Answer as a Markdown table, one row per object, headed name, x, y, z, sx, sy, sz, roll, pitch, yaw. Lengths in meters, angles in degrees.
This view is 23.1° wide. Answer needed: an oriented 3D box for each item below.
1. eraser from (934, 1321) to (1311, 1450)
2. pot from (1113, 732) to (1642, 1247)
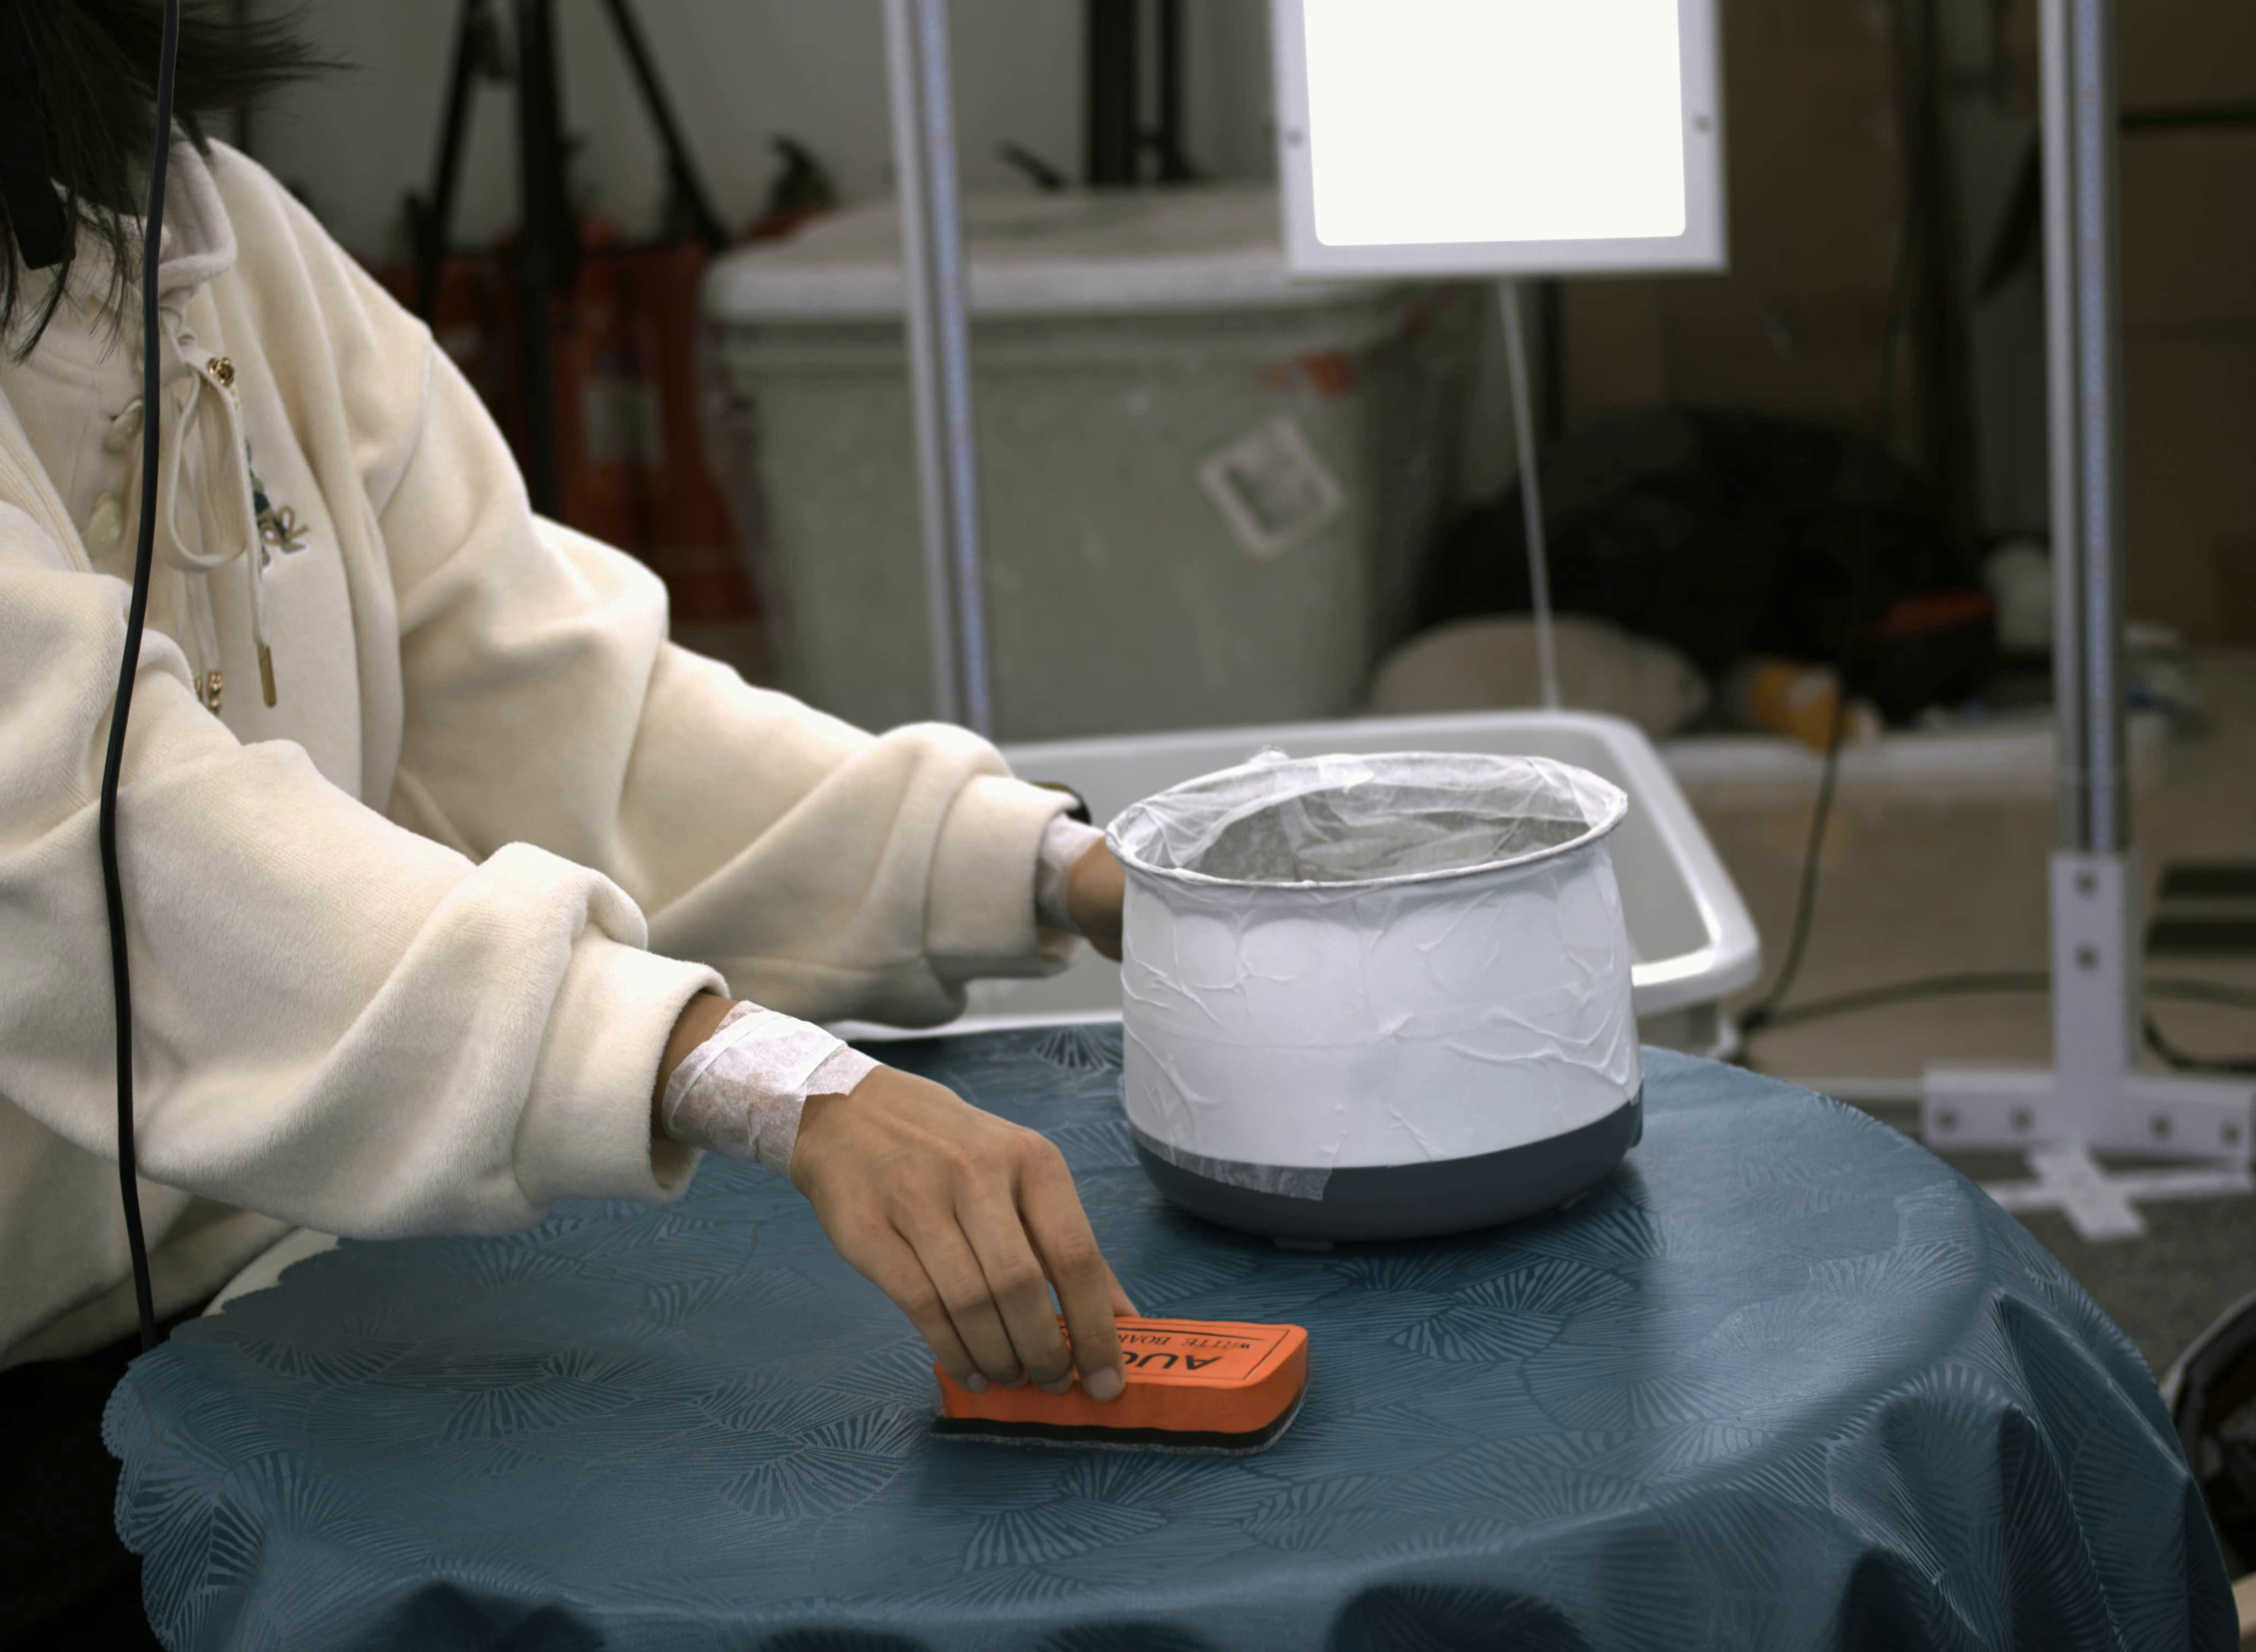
| name | x | y | z | sx | sy | sz | roll | pitch | yaw |
| --- | --- | --- | --- | --- | --- | --- | --- | --- | --- |
| eraser | -0.001 | 0.170 | 1.675 | 0.110 | 0.023 | 0.058 | 0 | 9 | 24 |
| pot | 0.076 | 0.050 | 1.885 | 0.176 | 0.137 | 0.236 | -7 | 15 | -17 |
